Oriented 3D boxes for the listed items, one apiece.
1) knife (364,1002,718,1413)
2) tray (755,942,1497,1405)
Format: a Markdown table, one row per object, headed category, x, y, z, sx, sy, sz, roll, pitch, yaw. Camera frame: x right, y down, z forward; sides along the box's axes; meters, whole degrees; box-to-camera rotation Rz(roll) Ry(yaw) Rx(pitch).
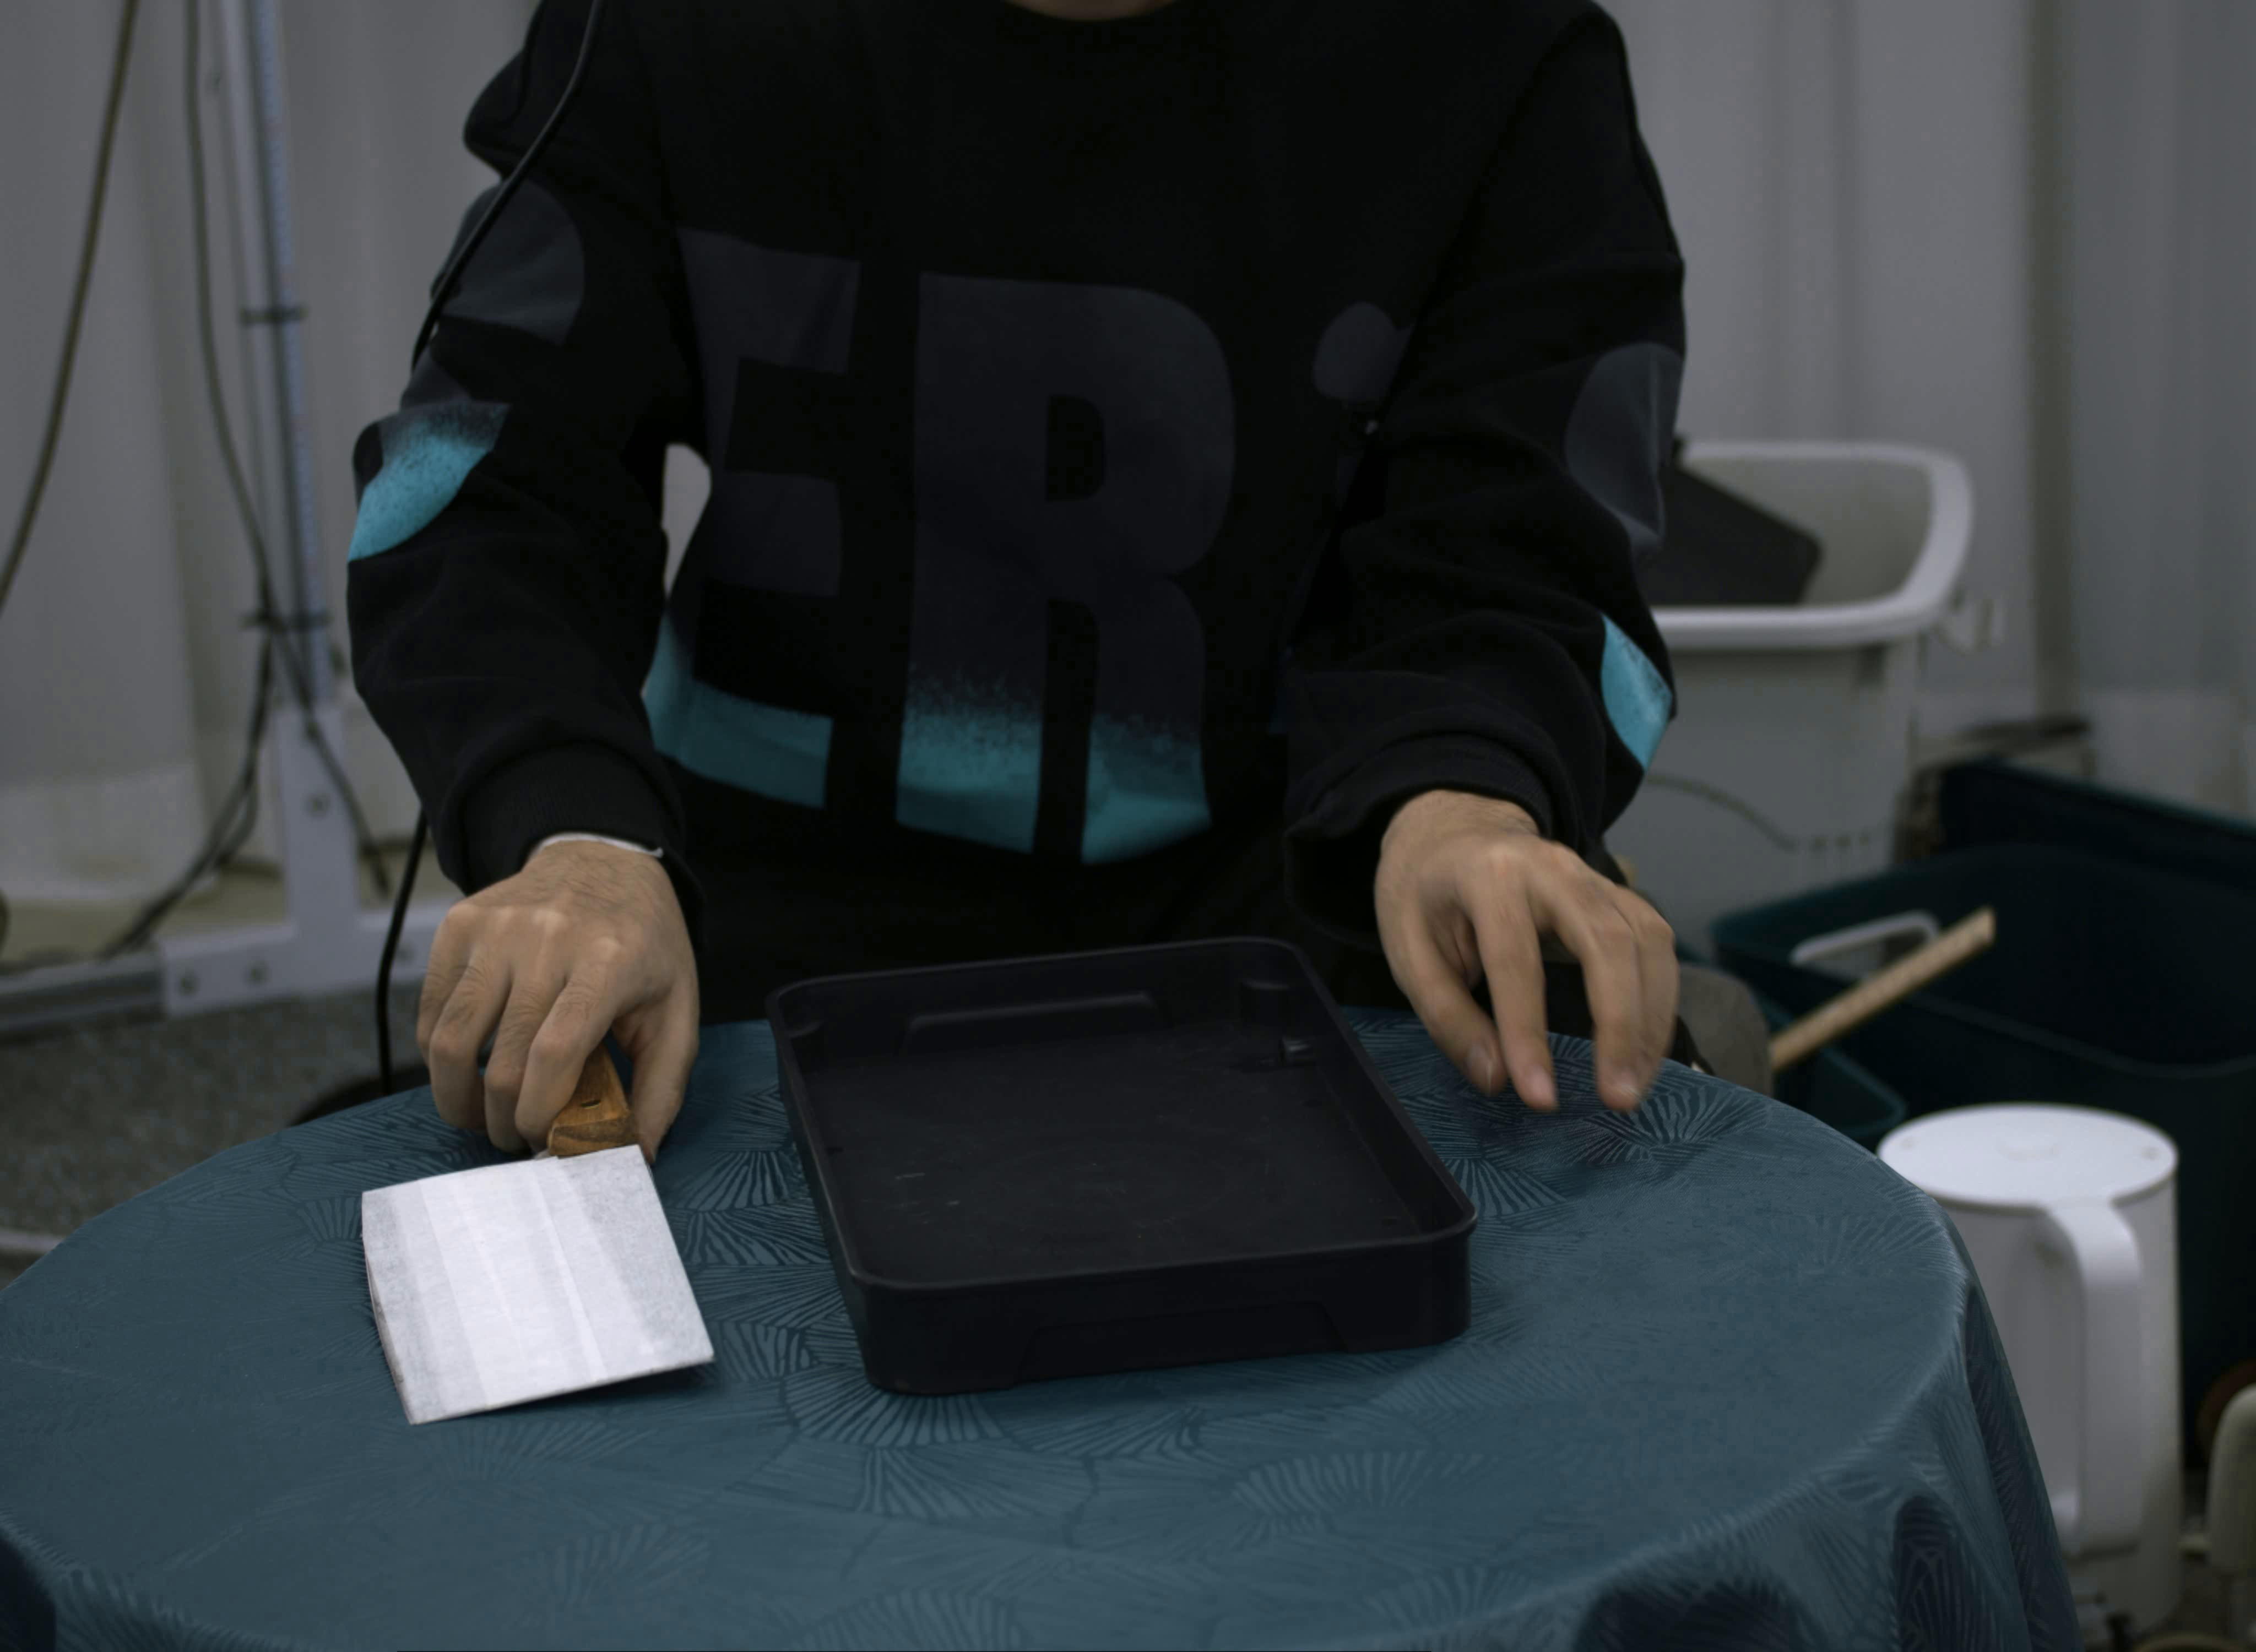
| category | x | y | z | sx | sy | sz | roll | pitch | yaw |
| --- | --- | --- | --- | --- | --- | --- | --- | --- | --- |
| knife | -0.190 | 0.117 | 1.699 | 0.092 | 0.021 | 0.308 | -11 | 19 | -9 |
| tray | -0.008 | 0.102 | 1.696 | 0.183 | 0.037 | 0.320 | -6 | 15 | -9 |
